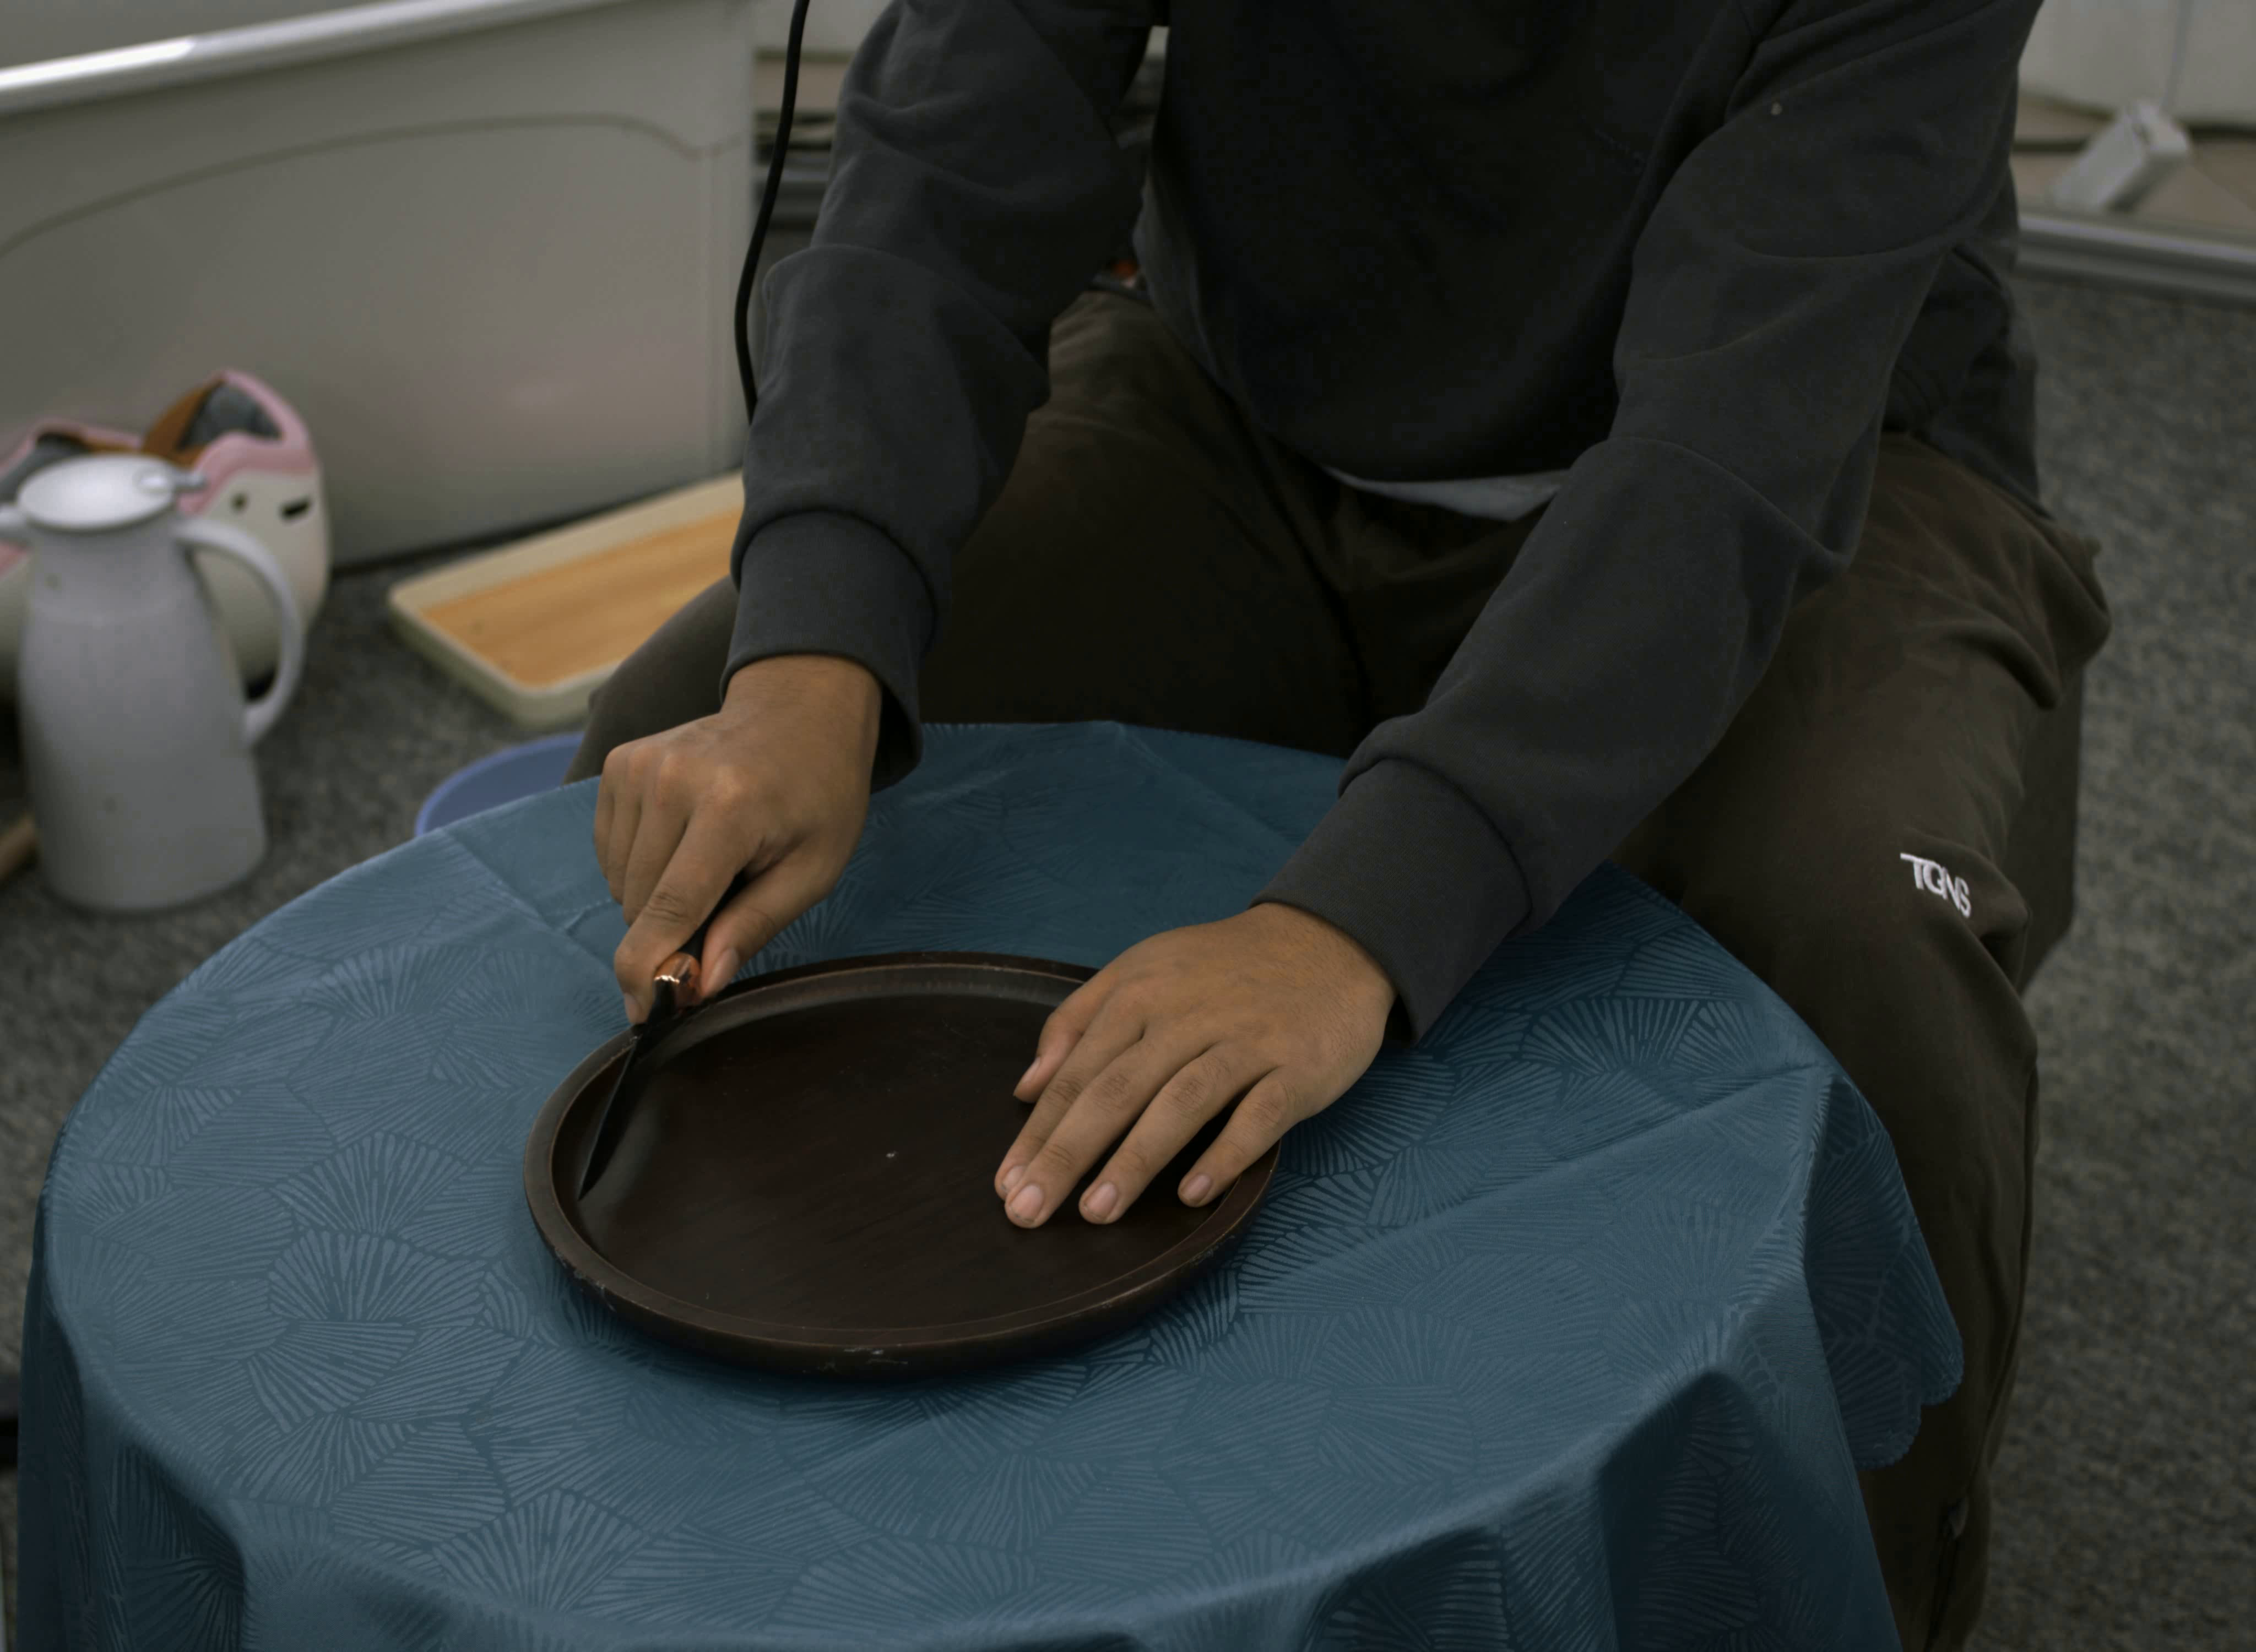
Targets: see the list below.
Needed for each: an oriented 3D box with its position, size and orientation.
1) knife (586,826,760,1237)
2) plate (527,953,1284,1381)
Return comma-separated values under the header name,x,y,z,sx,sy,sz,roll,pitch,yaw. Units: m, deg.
name,x,y,z,sx,sy,sz,roll,pitch,yaw
knife,-0.157,0.067,1.919,0.017,0.026,0.230,1,32,11
plate,-0.073,0.112,1.866,0.253,0.029,0.258,-3,26,2
